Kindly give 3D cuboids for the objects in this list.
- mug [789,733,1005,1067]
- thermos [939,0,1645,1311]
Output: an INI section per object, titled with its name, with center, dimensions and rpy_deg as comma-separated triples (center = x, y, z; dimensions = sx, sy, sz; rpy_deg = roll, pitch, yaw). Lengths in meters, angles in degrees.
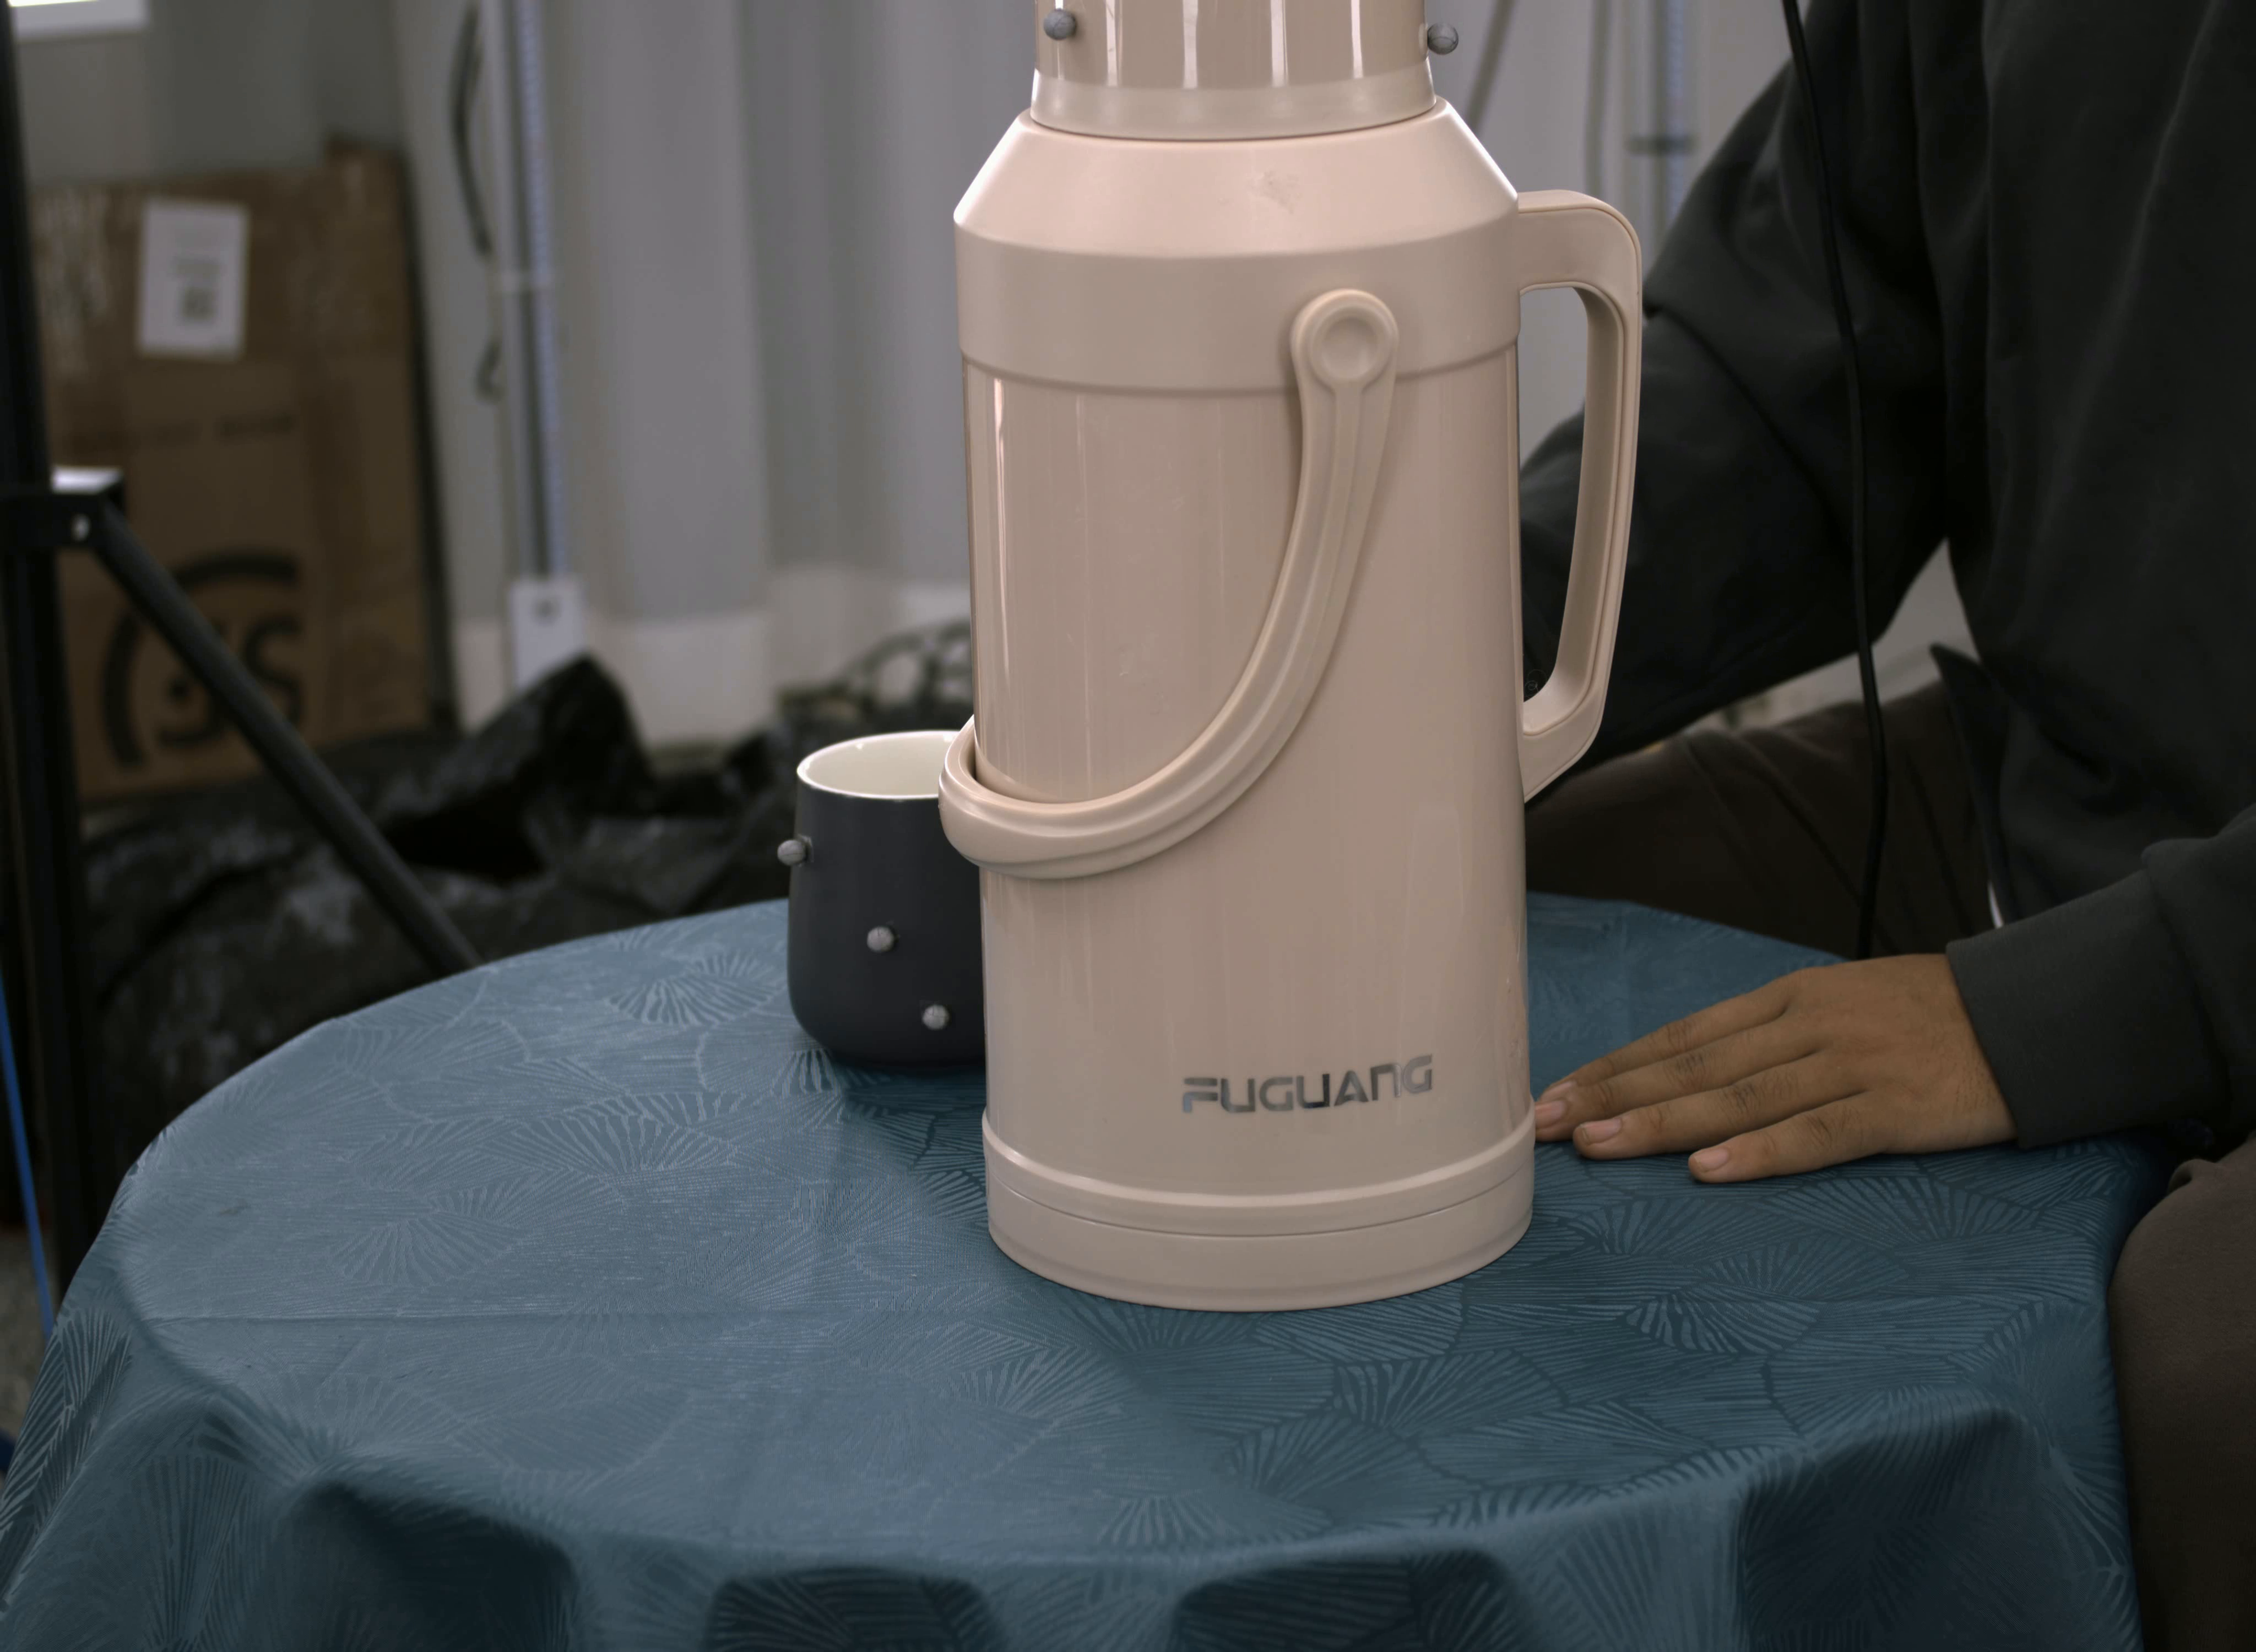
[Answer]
[mug]
center = -0.049, 0.021, 1.703
dimensions = 0.121, 0.090, 0.095
rpy_deg = -9, 17, -23
[thermos]
center = 0.047, -0.080, 1.488
dimensions = 0.203, 0.406, 0.178
rpy_deg = -7, 15, -17
